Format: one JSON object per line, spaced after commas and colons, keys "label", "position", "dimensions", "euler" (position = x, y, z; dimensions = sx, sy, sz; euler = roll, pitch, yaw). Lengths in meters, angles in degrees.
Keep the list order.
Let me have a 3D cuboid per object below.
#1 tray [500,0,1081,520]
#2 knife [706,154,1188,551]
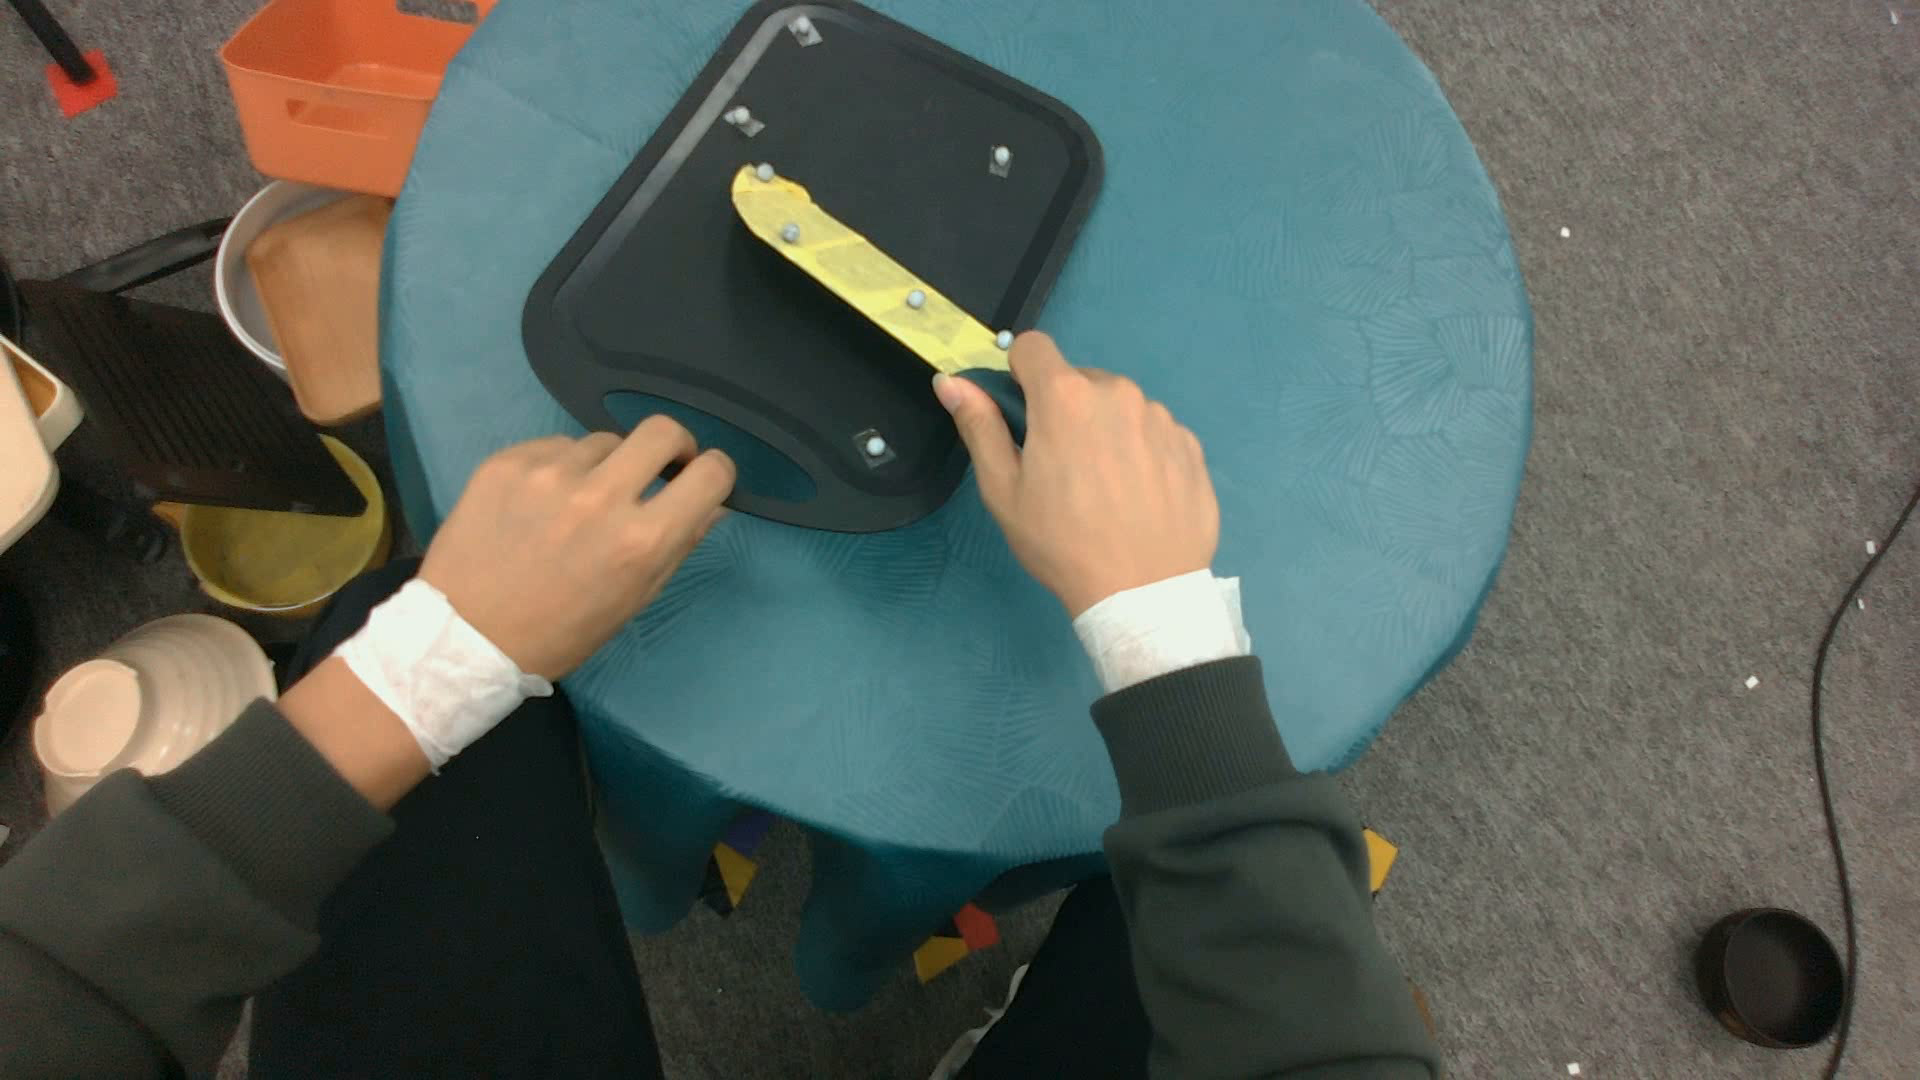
{"label": "tray", "position": [-0.071, -0.152, 0.671], "dimensions": [0.211, 0.010, 0.327], "euler": [25, 57, -1]}
{"label": "knife", "position": [-0.009, -0.094, 0.635], "dimensions": [0.289, 0.027, 0.081], "euler": [40, 31, 10]}
